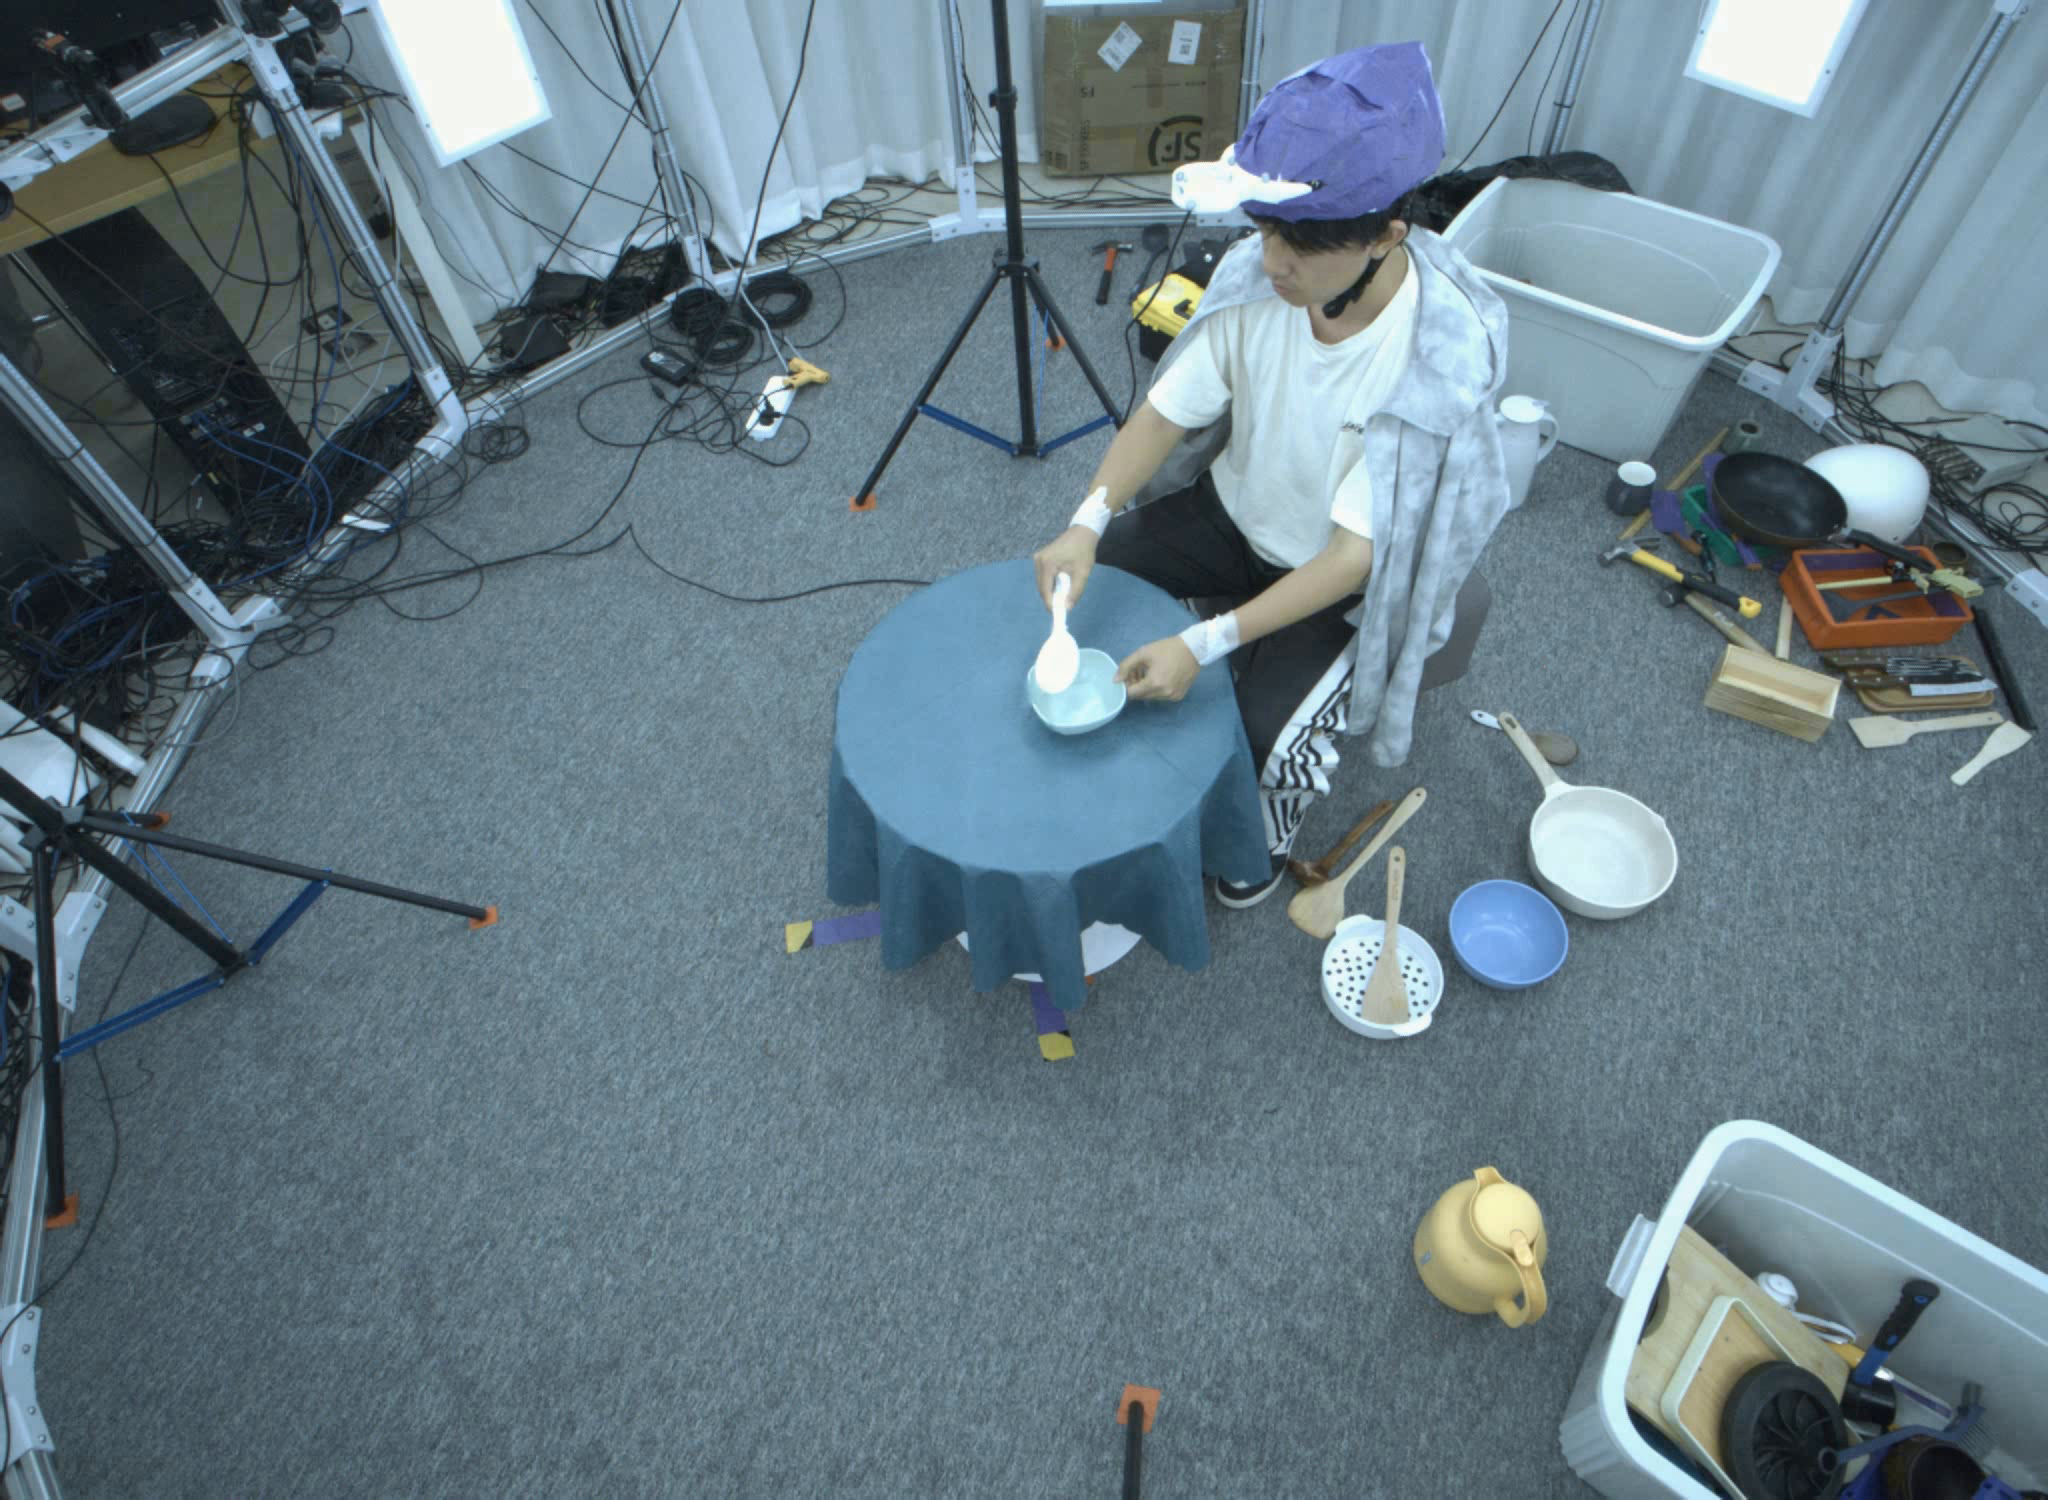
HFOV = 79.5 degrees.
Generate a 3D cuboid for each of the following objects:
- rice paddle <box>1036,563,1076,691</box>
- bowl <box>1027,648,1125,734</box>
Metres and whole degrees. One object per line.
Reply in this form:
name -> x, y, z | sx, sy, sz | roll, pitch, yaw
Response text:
rice paddle -> 0.048, -0.177, 1.769 | 0.067, 0.030, 0.203 | -13, 61, 32
bowl -> 0.078, -0.076, 1.805 | 0.151, 0.059, 0.150 | -2, 55, 5
